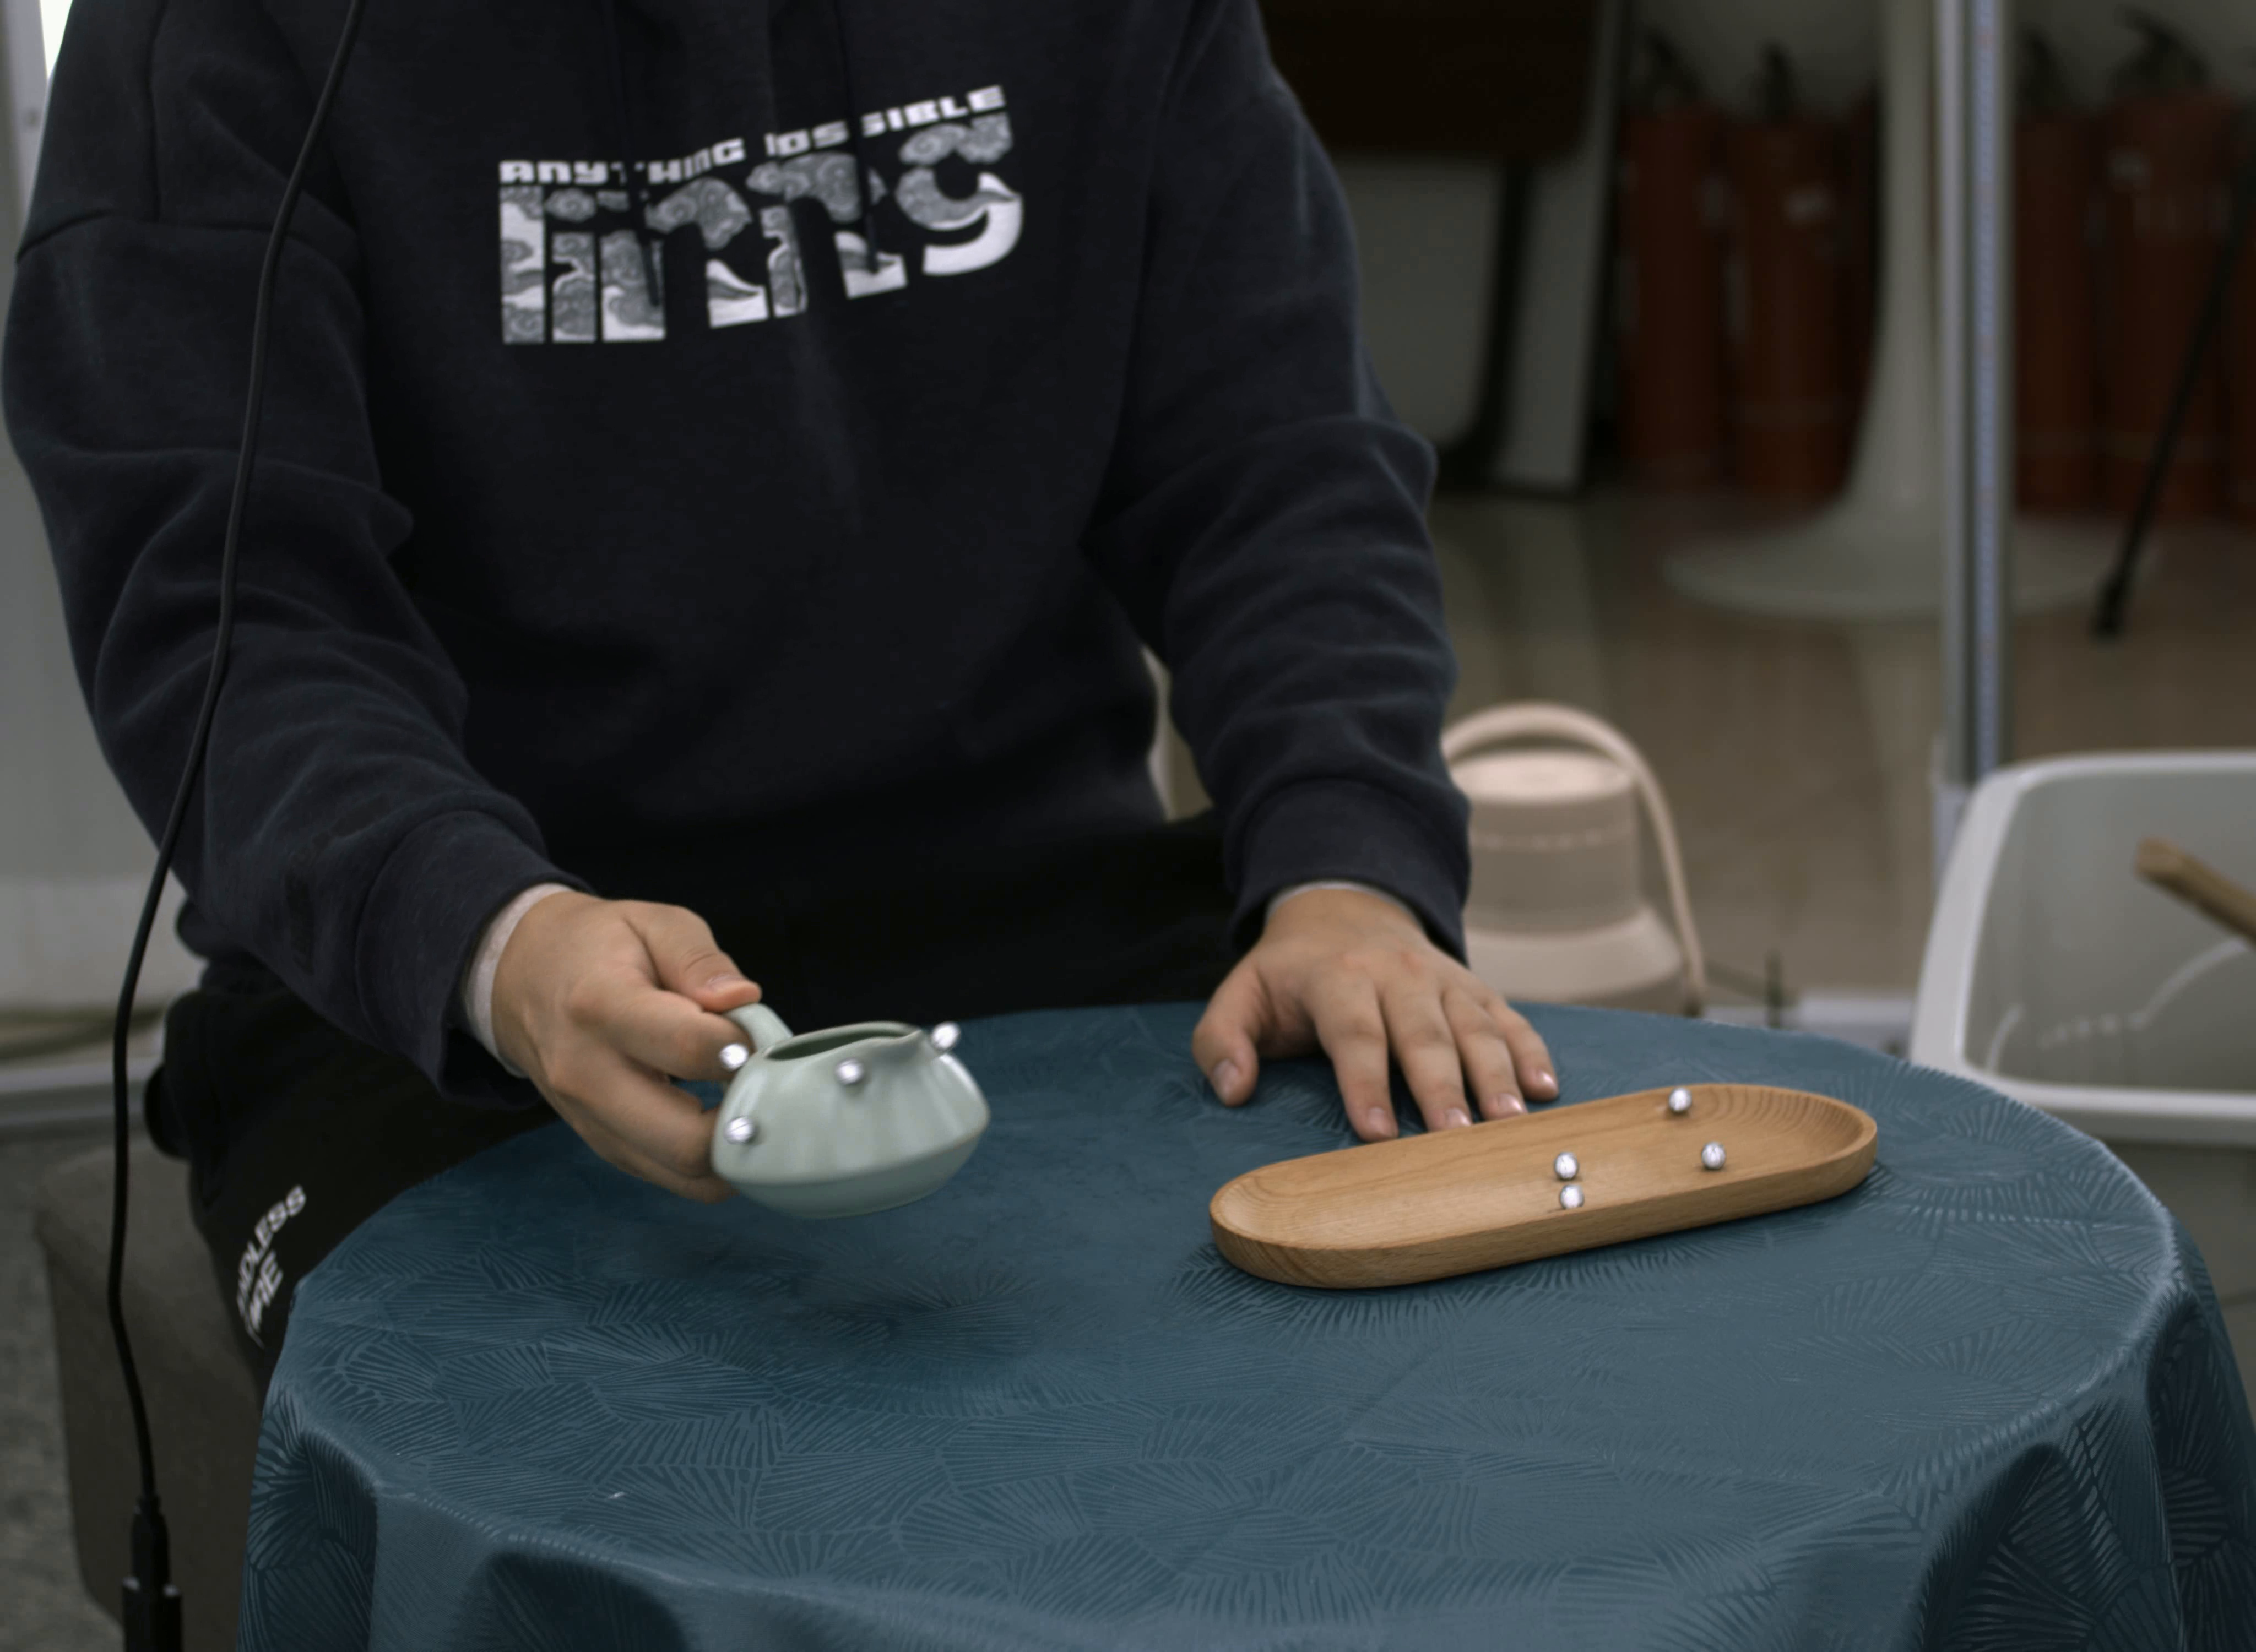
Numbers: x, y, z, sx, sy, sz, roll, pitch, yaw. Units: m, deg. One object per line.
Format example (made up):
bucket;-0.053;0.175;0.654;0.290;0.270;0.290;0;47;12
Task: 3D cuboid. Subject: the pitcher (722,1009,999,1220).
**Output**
pitcher;-0.090;0.087;1.660;0.084;0.061;0.109;-15;9;-38

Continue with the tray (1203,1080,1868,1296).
tray;0.132;0.116;1.727;0.226;0.020;0.102;-12;14;-22
